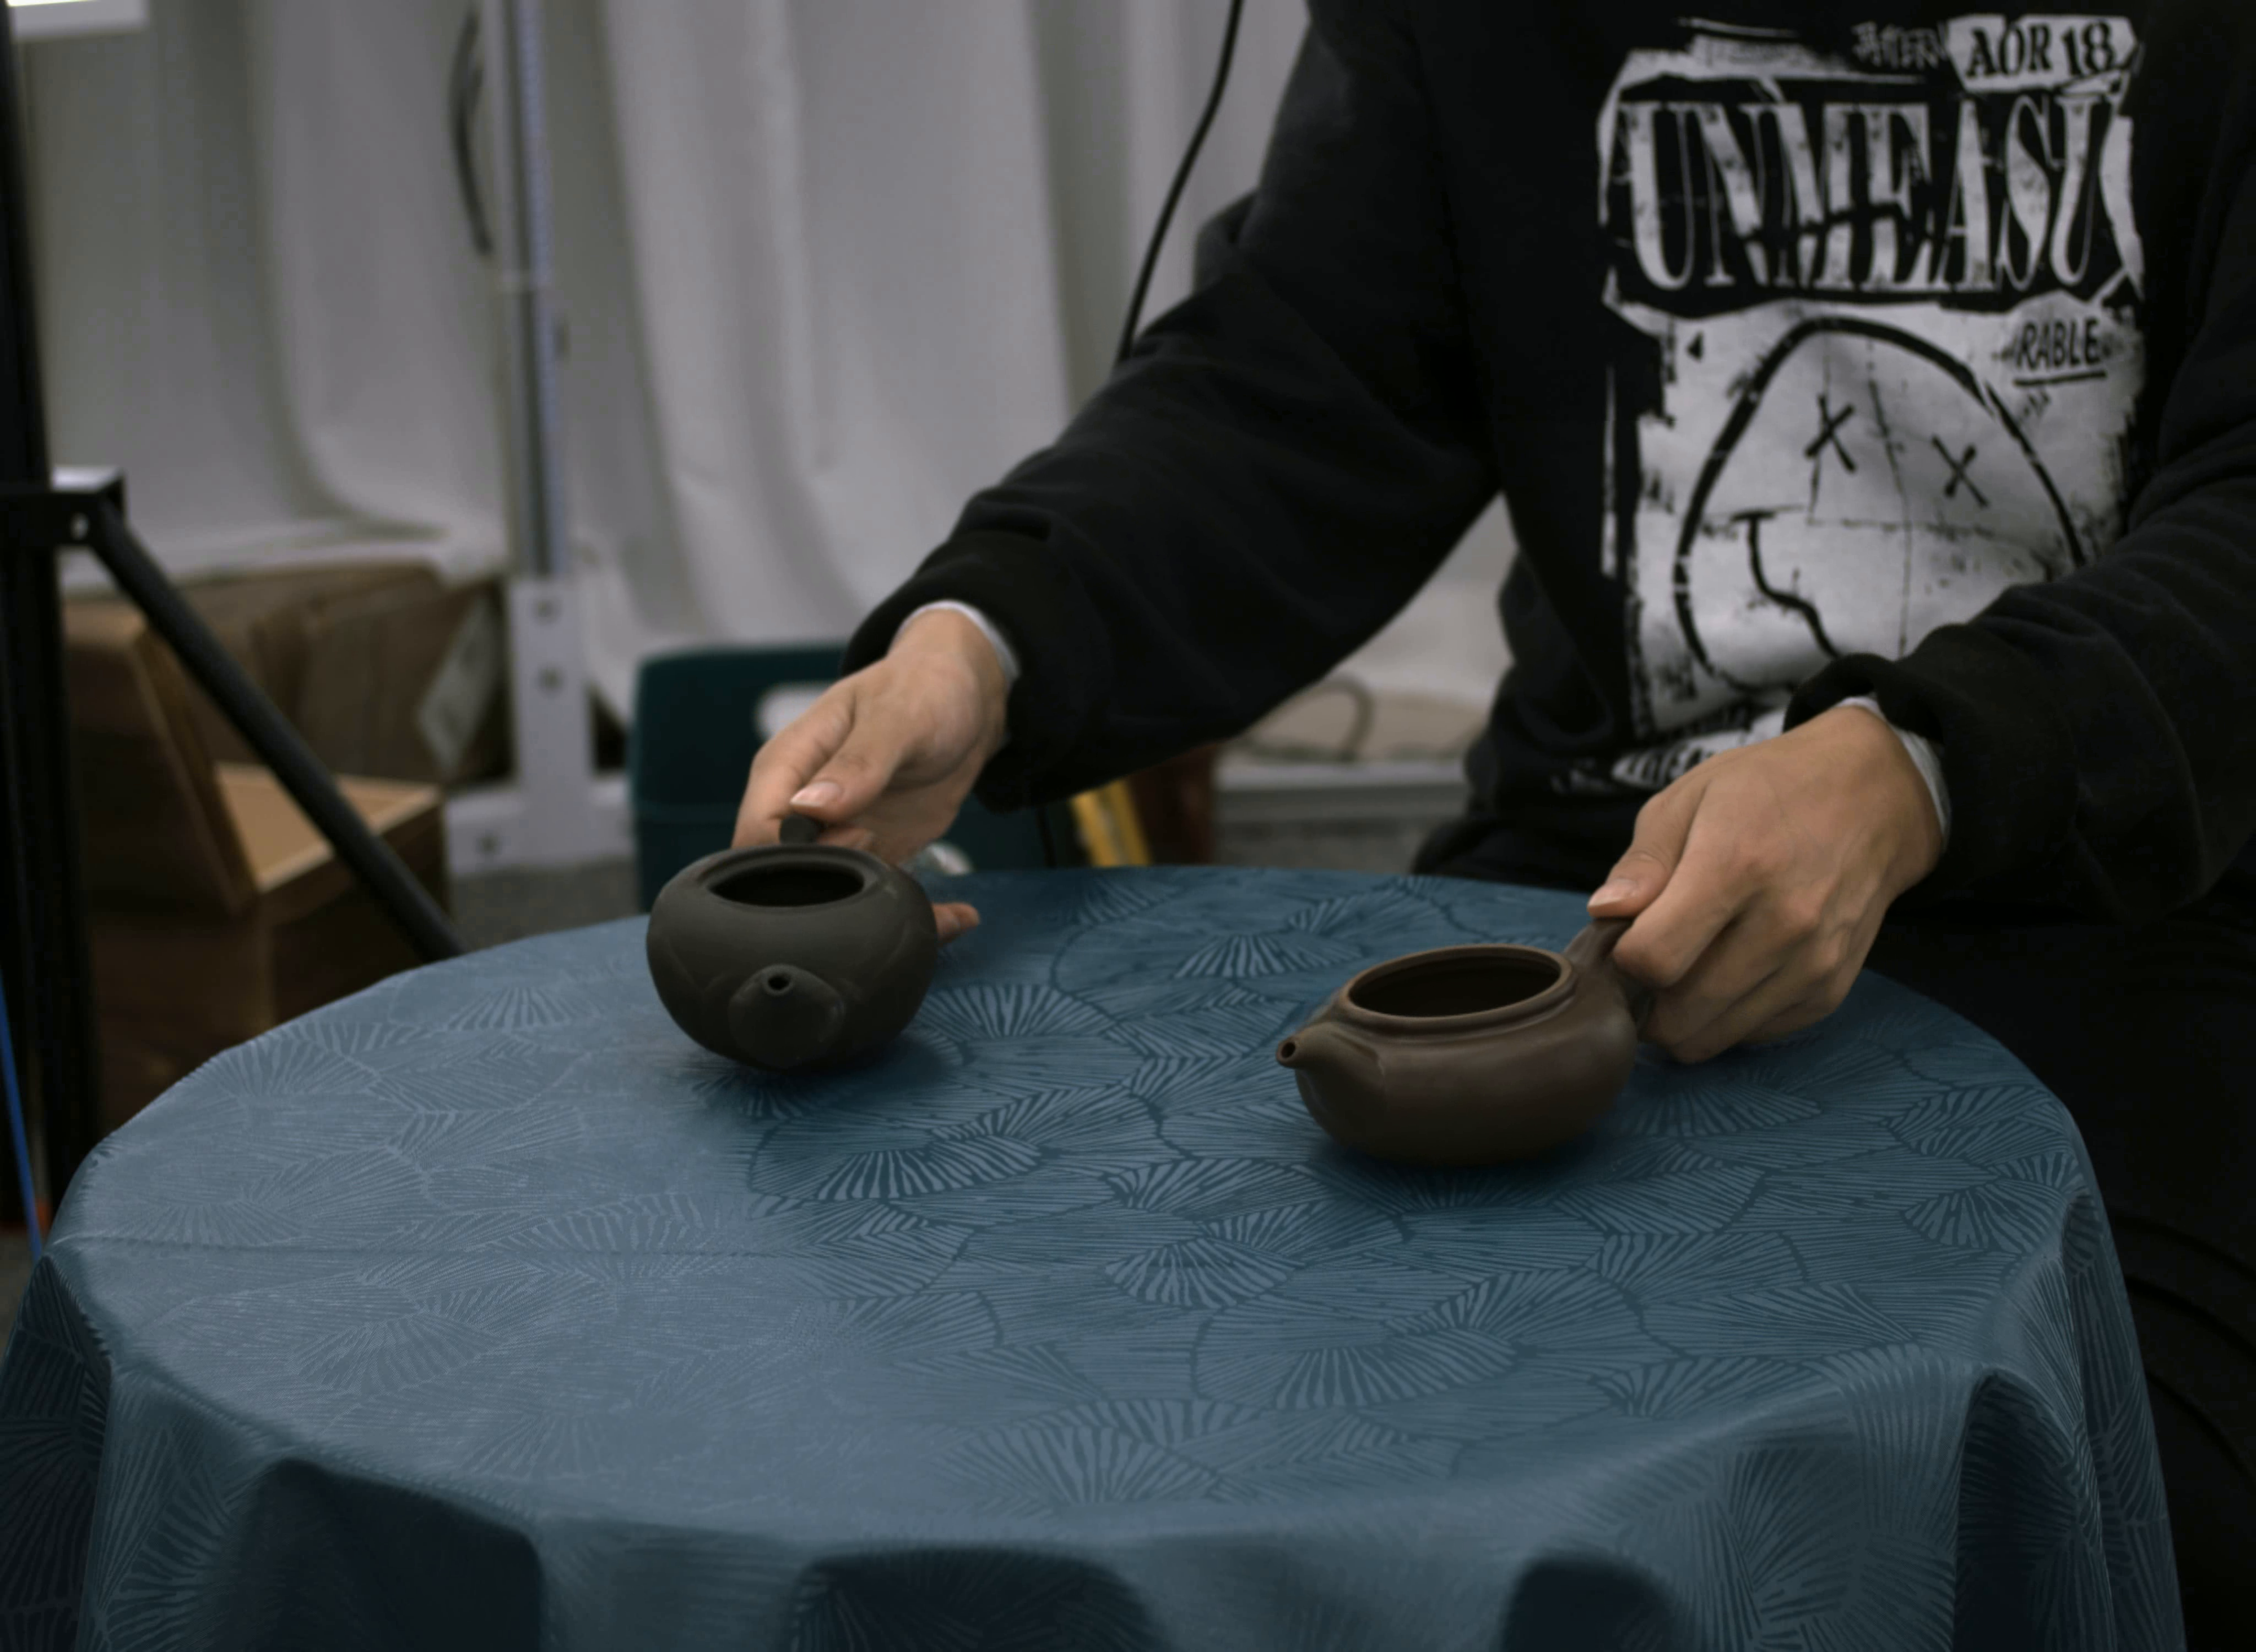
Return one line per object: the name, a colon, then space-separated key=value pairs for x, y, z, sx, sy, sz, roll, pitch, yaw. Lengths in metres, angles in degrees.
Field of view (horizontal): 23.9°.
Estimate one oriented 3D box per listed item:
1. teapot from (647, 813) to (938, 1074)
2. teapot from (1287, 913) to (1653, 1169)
teapot: x=-0.106 y=0.039 z=1.692 sx=0.092 sy=0.064 sz=0.155 roll=2 pitch=21 yaw=1
teapot: x=0.104 y=0.065 z=1.578 sx=0.105 sy=0.054 sz=0.150 roll=11 pitch=25 yaw=43
